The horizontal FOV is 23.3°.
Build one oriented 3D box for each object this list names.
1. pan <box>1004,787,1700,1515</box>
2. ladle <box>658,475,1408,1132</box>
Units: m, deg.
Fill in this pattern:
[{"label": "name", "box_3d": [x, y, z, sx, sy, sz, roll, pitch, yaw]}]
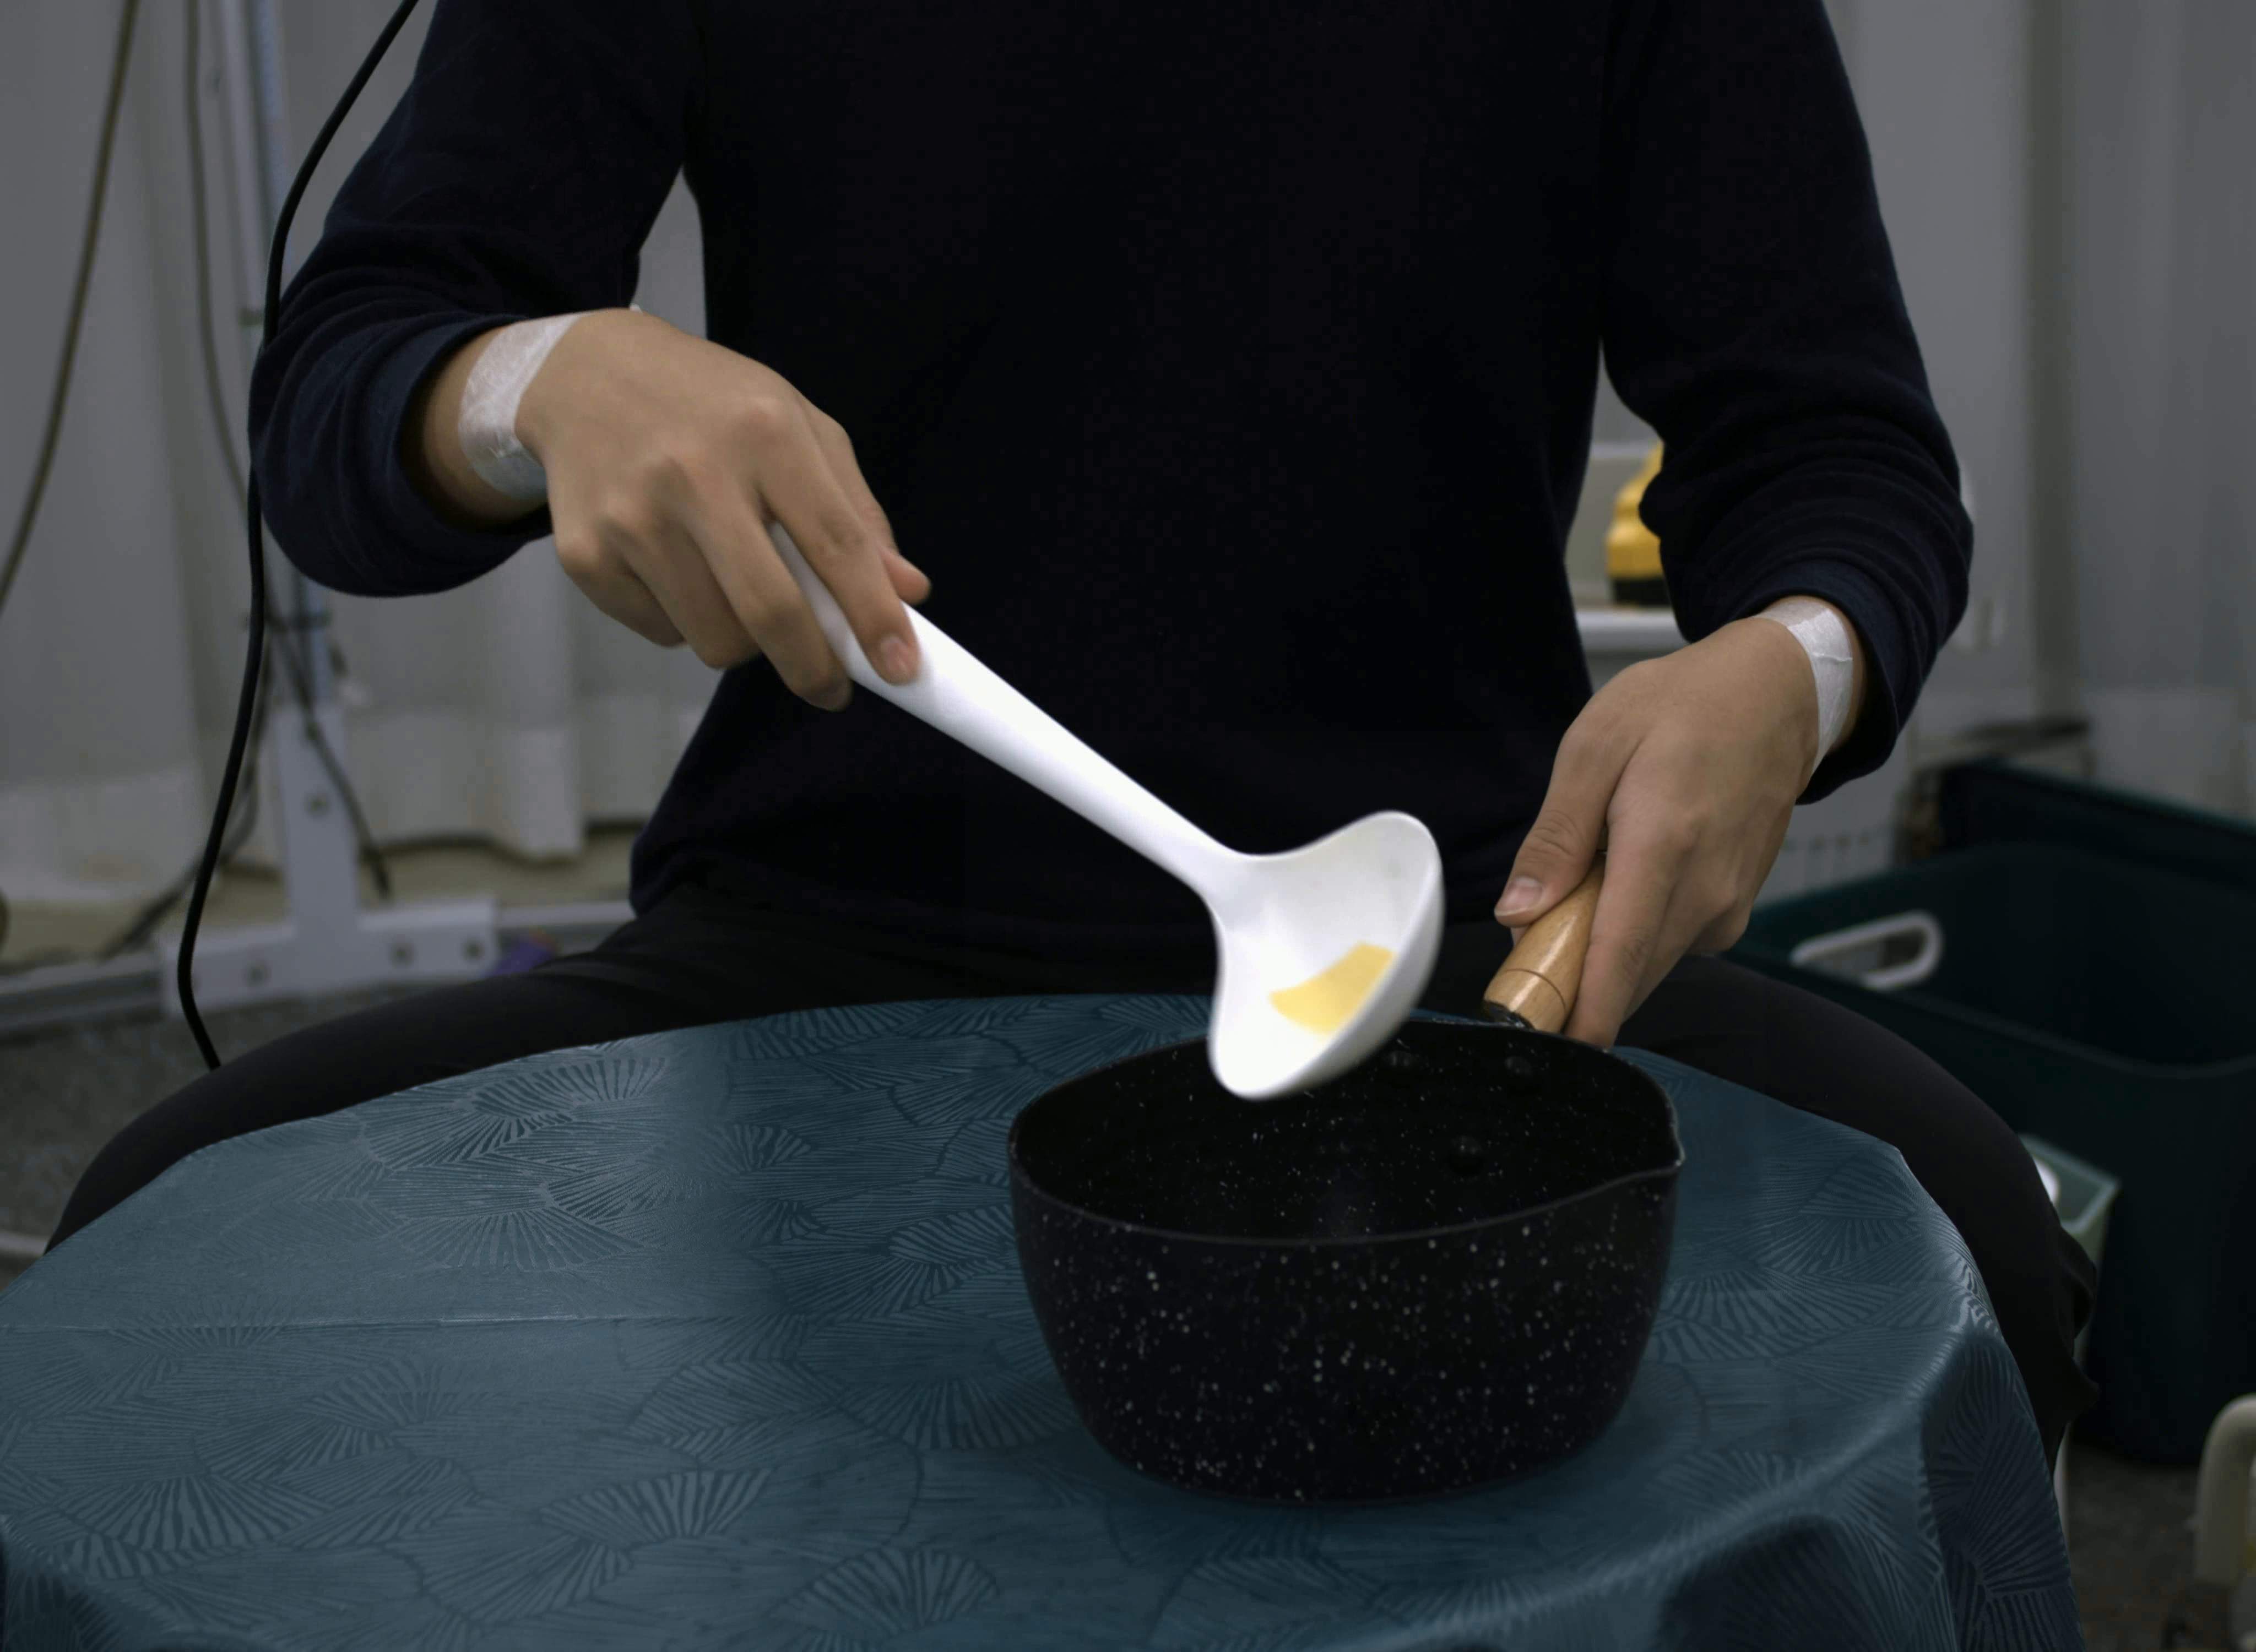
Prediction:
[{"label": "pan", "box_3d": [0.092, 0.088, 1.578, 0.208, 0.107, 0.344, 3, 18, 25]}, {"label": "ladle", "box_3d": [-0.034, -0.017, 1.548, 0.295, 0.090, 0.069, 37, 9, 28]}]
